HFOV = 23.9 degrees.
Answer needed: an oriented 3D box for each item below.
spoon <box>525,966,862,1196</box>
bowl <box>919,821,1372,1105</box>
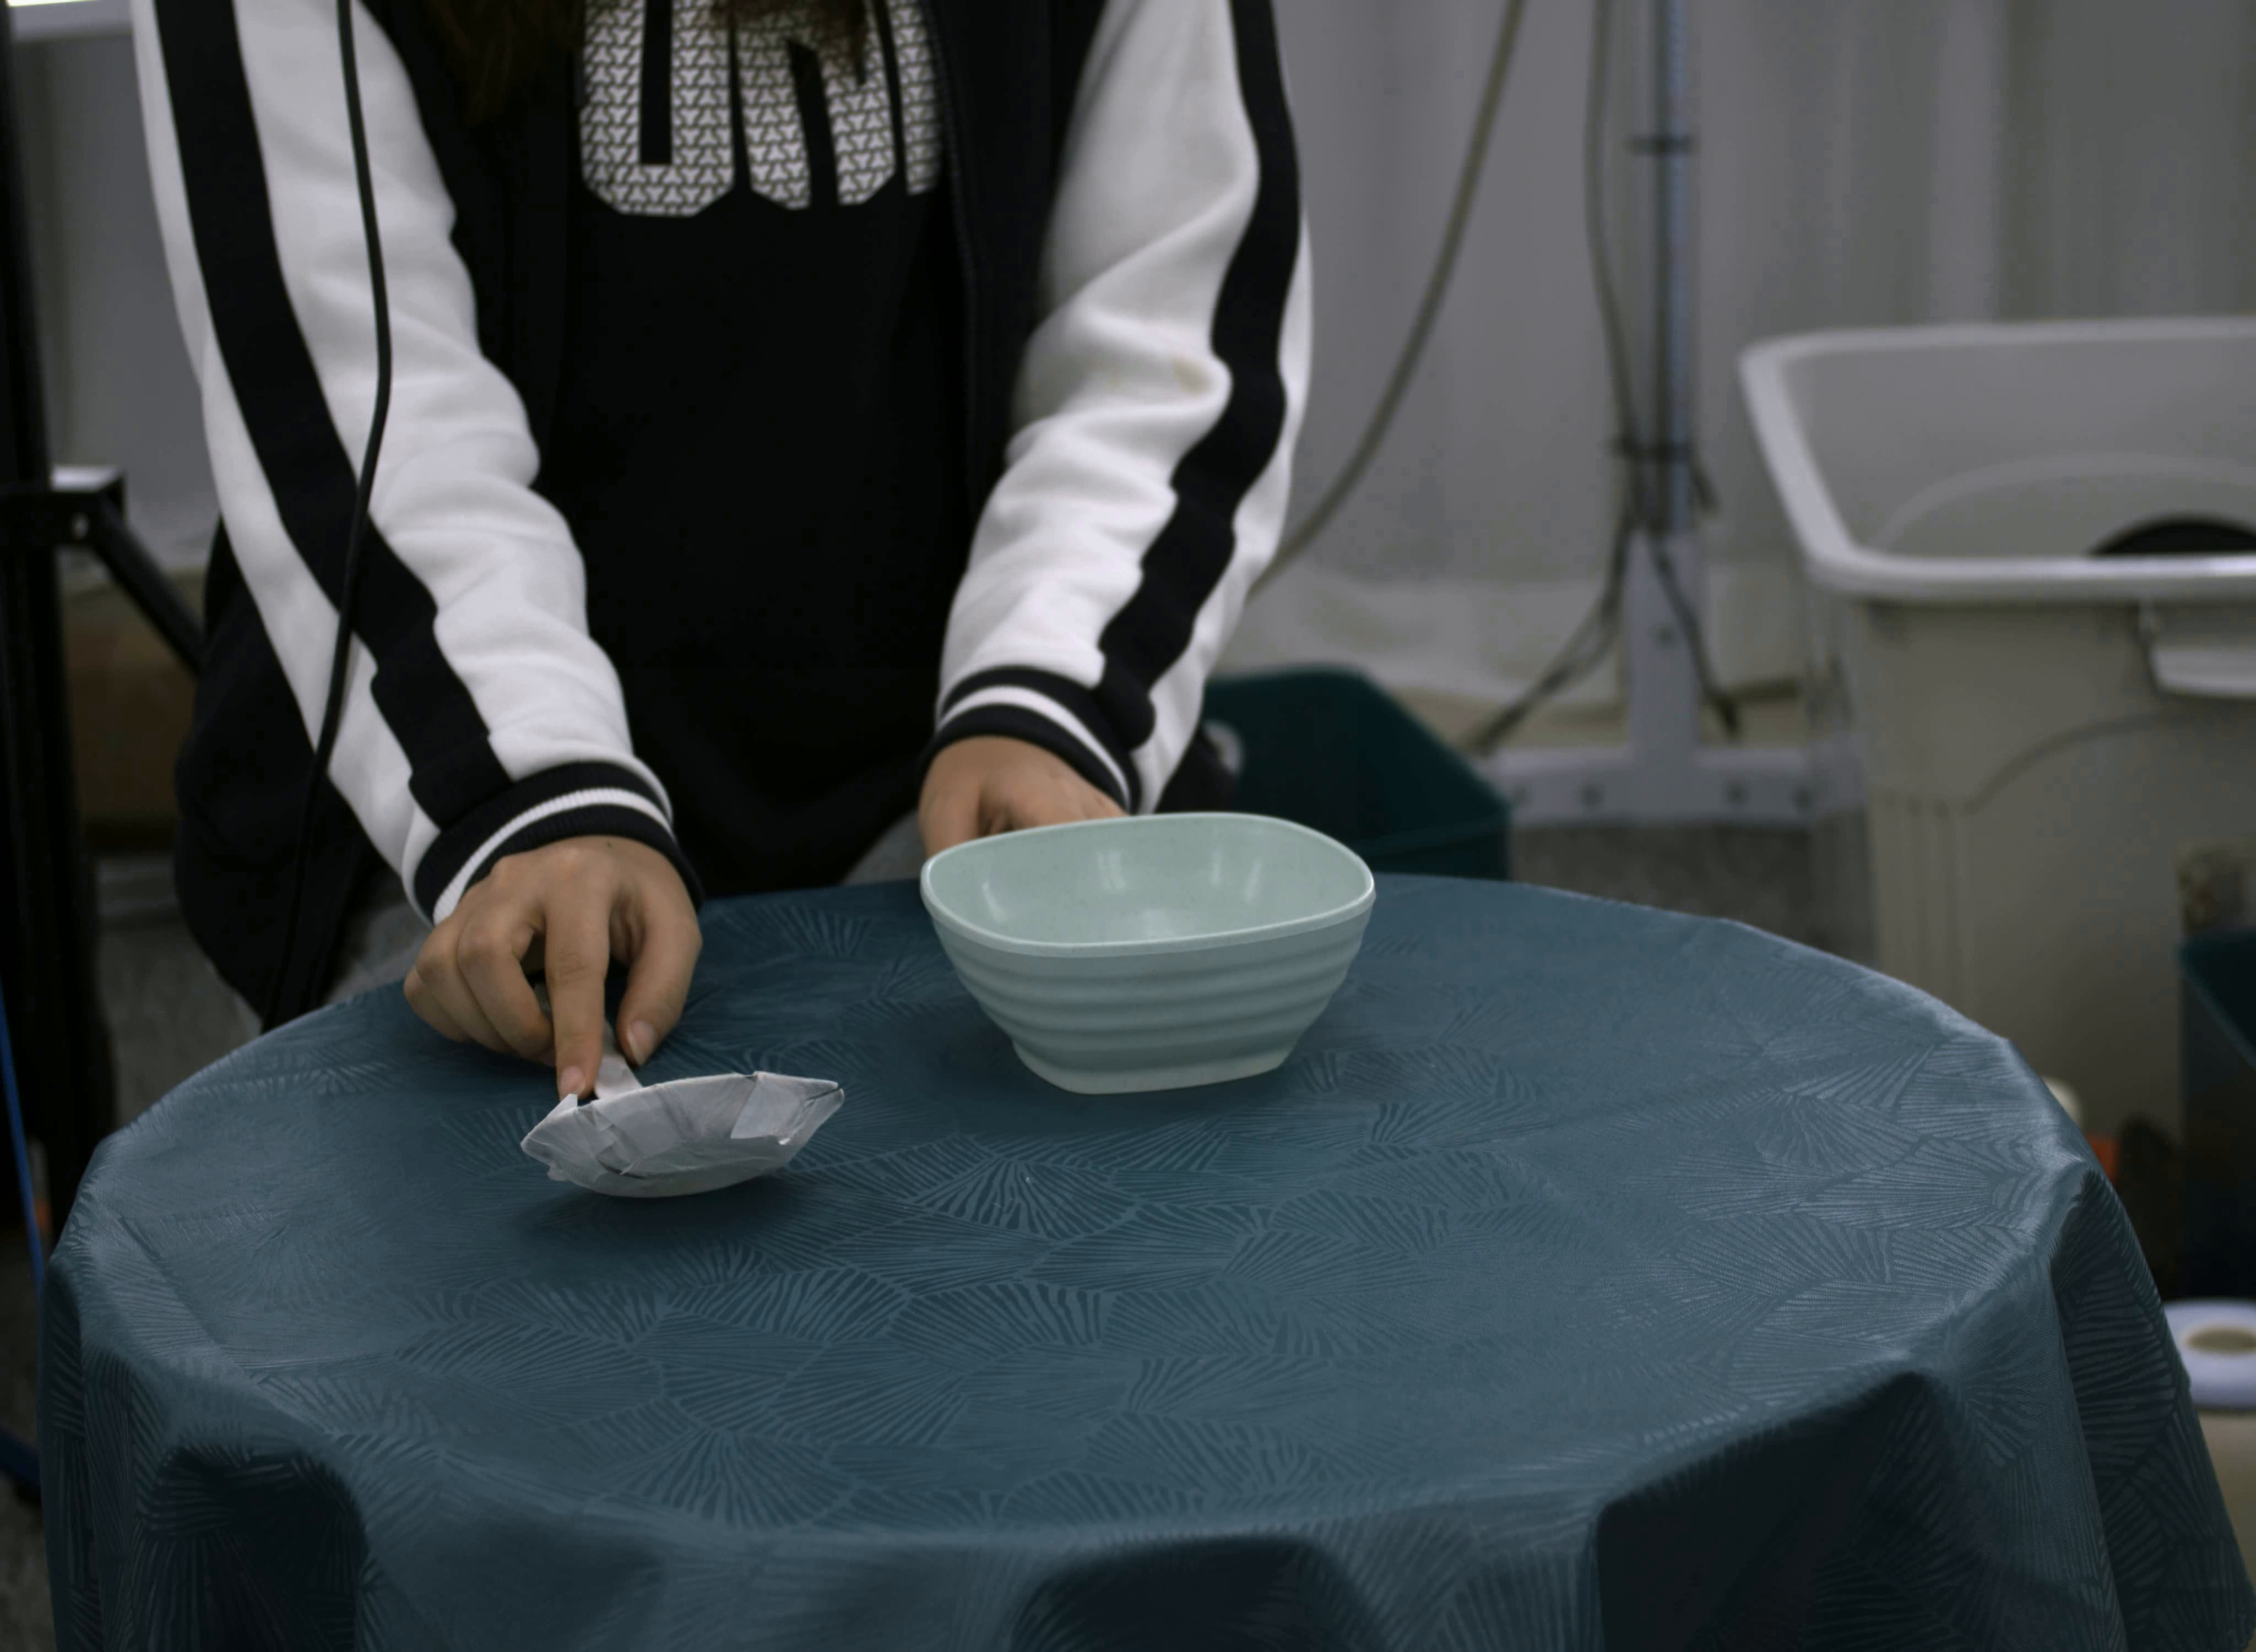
[{"bbox_3d":[-0.146,0.061,1.646,0.099,0.059,0.281,0,15,-12],"label":"spoon"},{"bbox_3d":[0.006,0.046,1.682,0.150,0.058,0.152,-2,16,-1],"label":"bowl"}]
